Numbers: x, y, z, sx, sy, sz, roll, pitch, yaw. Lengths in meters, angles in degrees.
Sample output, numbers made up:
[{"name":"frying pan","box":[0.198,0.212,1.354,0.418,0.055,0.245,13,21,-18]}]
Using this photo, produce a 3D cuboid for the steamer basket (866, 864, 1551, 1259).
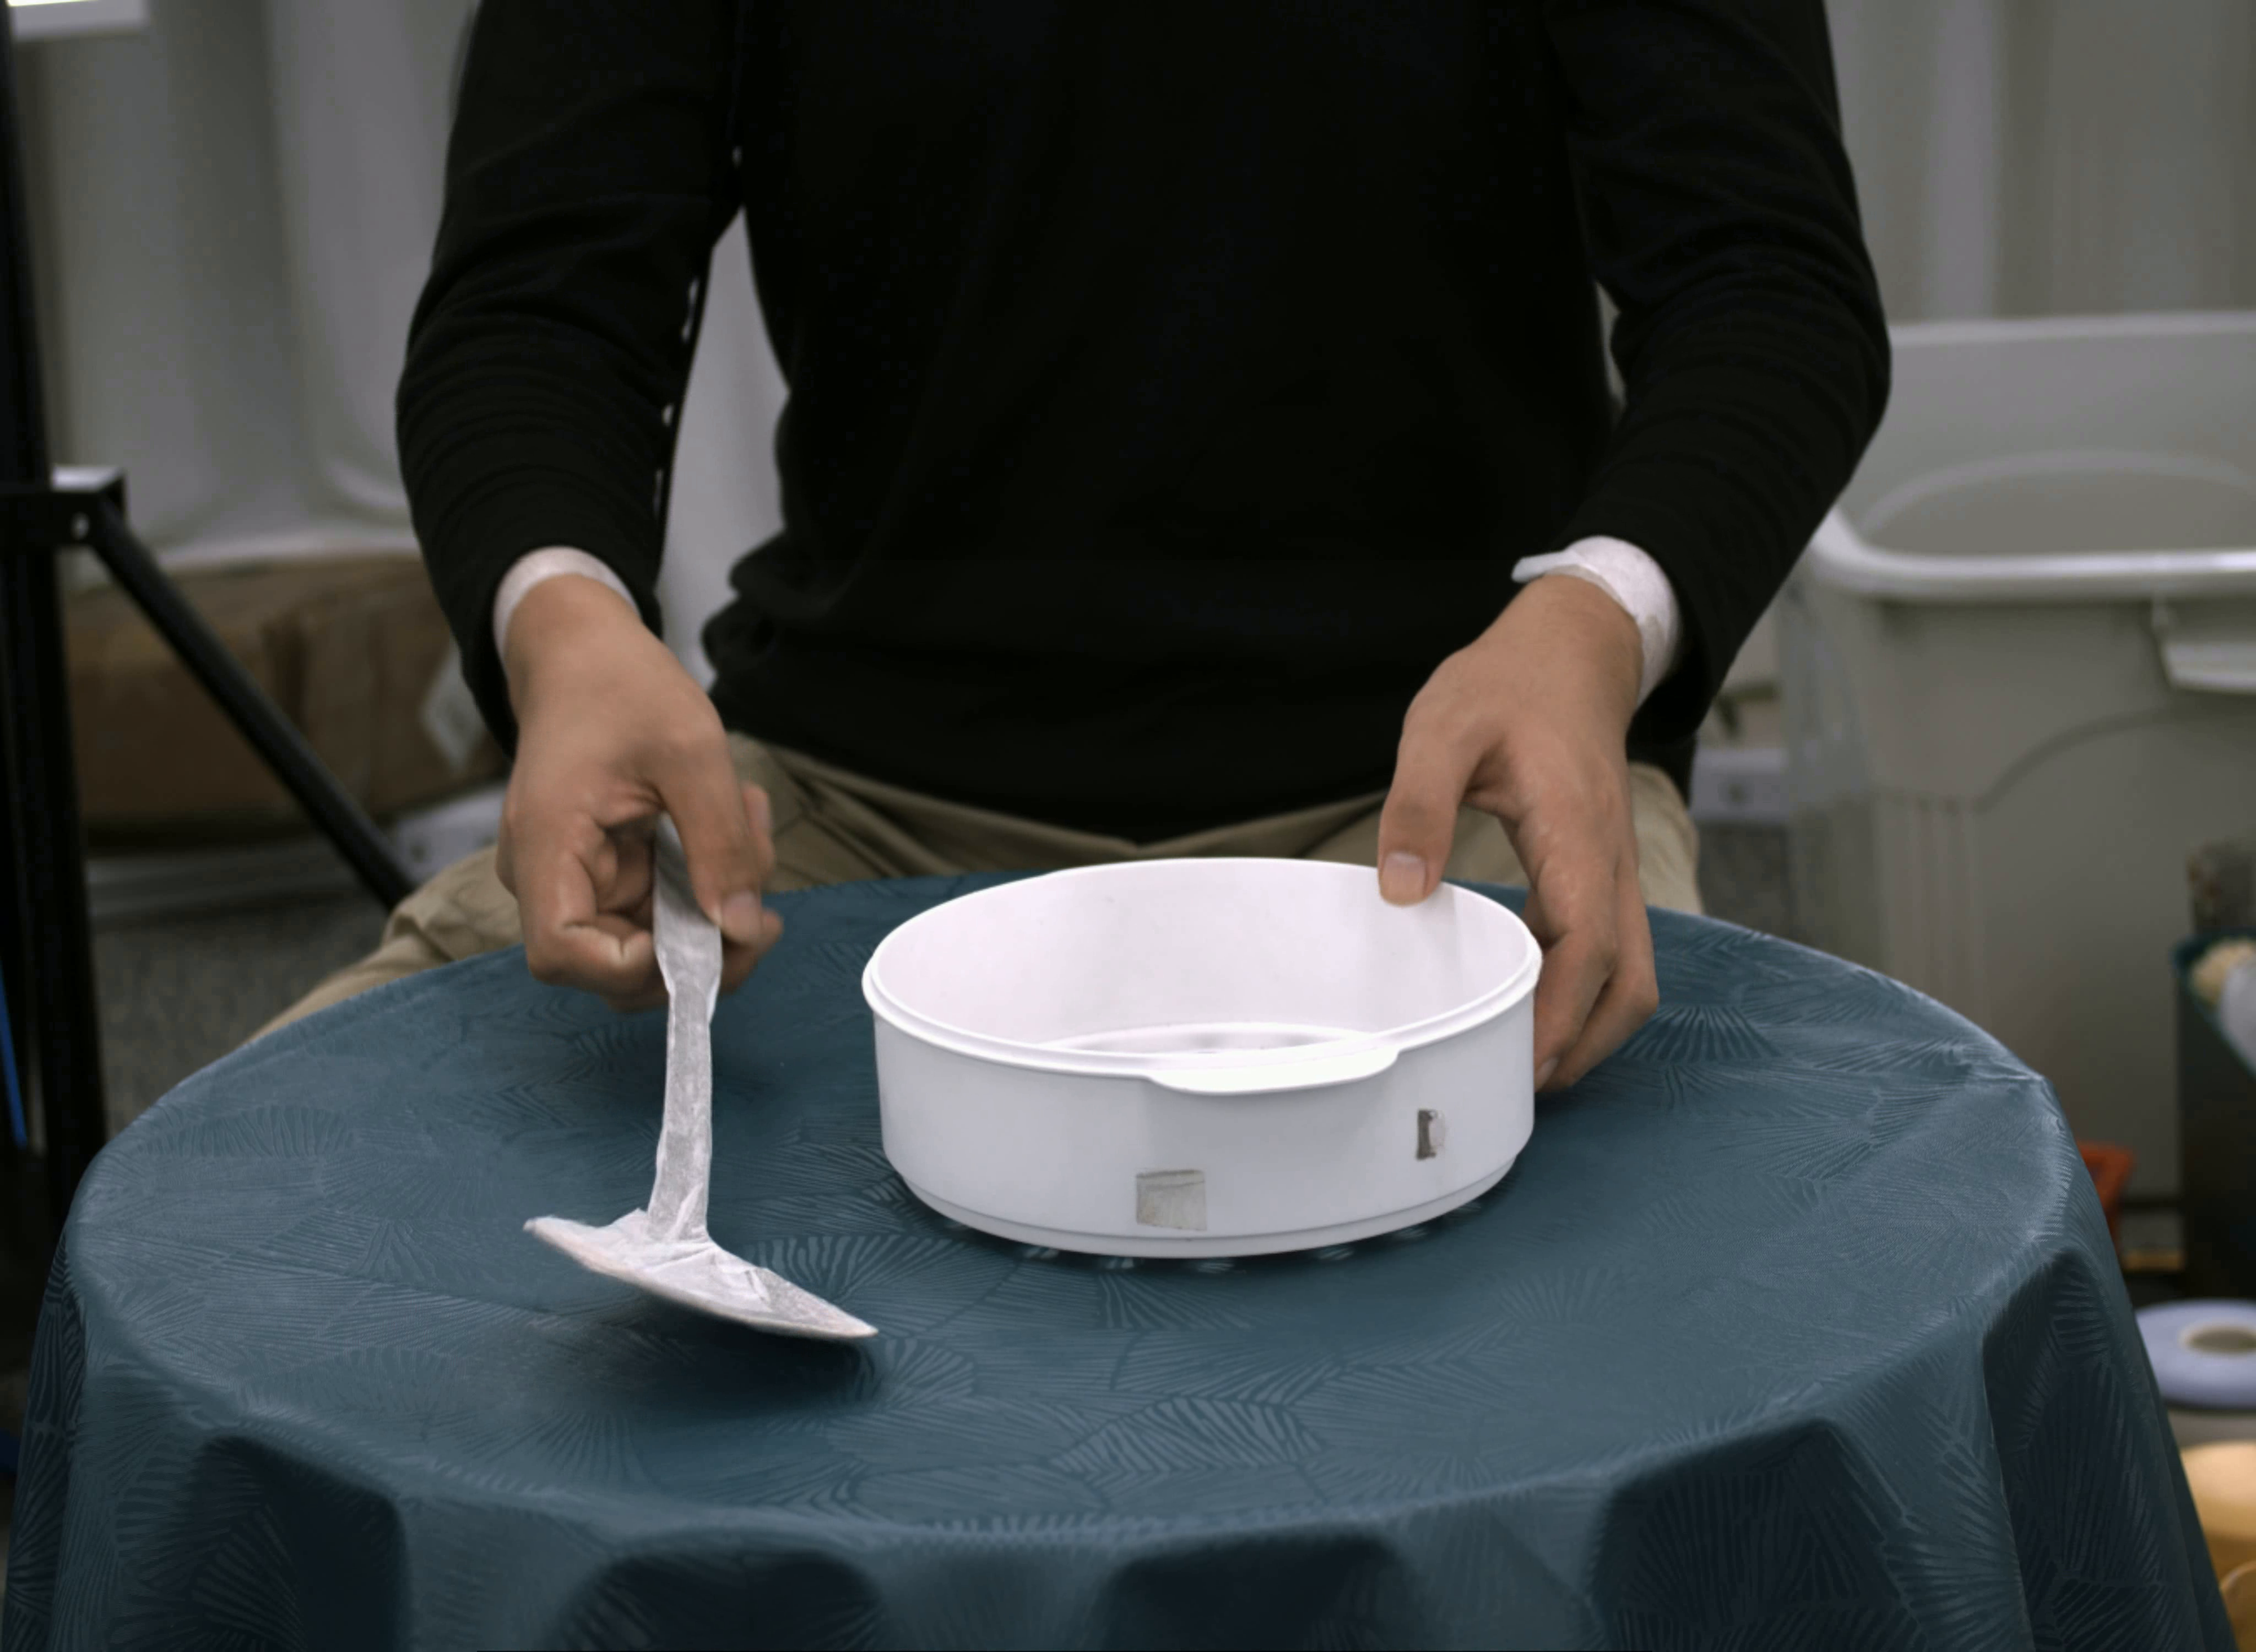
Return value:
[{"name":"steamer basket","box":[0.024,0.069,1.563,0.199,0.069,0.233,-4,15,-9]}]

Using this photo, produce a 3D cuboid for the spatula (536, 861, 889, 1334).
[{"name":"spatula","box":[-0.124,0.068,1.569,0.097,0.045,0.368,16,22,-11]}]
